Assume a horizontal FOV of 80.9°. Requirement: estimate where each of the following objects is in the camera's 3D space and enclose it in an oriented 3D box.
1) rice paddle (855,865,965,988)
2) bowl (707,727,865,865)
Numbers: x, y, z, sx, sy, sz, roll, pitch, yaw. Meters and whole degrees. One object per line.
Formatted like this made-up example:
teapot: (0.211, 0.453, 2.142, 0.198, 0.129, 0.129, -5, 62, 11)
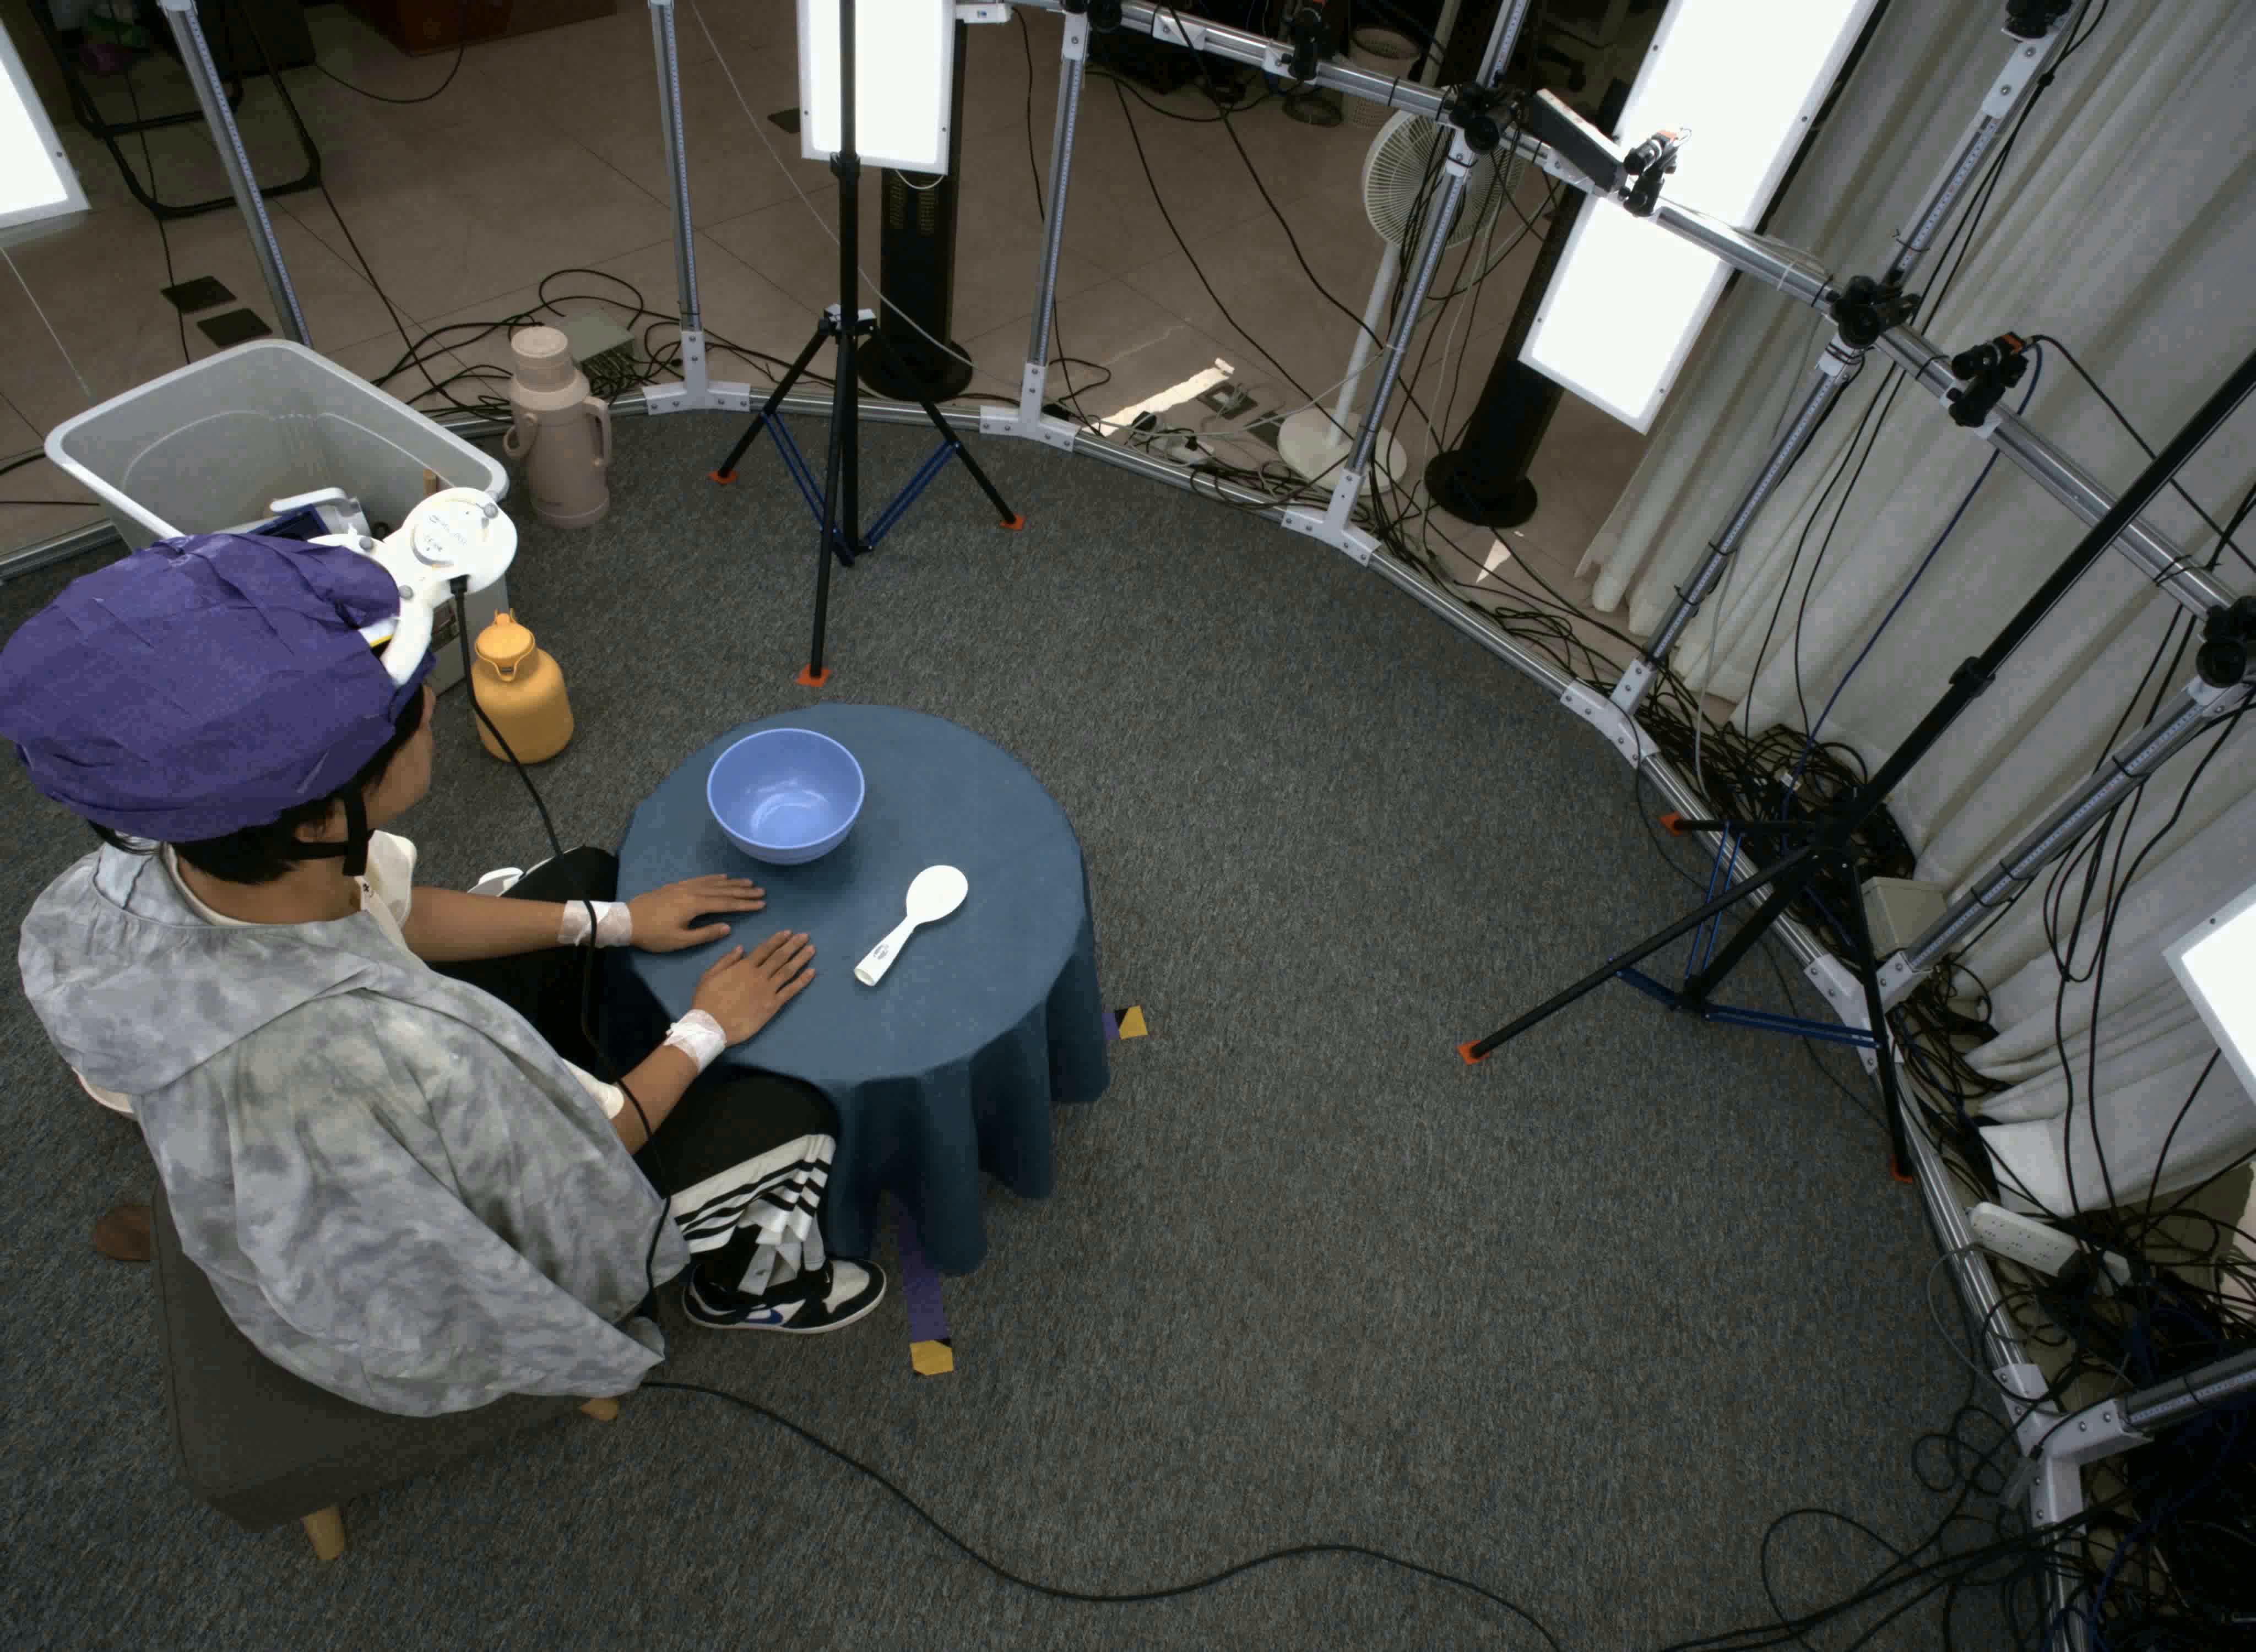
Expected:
rice paddle: (-0.276, 0.120, 1.654, 0.068, 0.030, 0.204, 30, 53, 8)
bowl: (-0.440, -0.024, 1.677, 0.196, 0.097, 0.193, 8, 52, -9)
